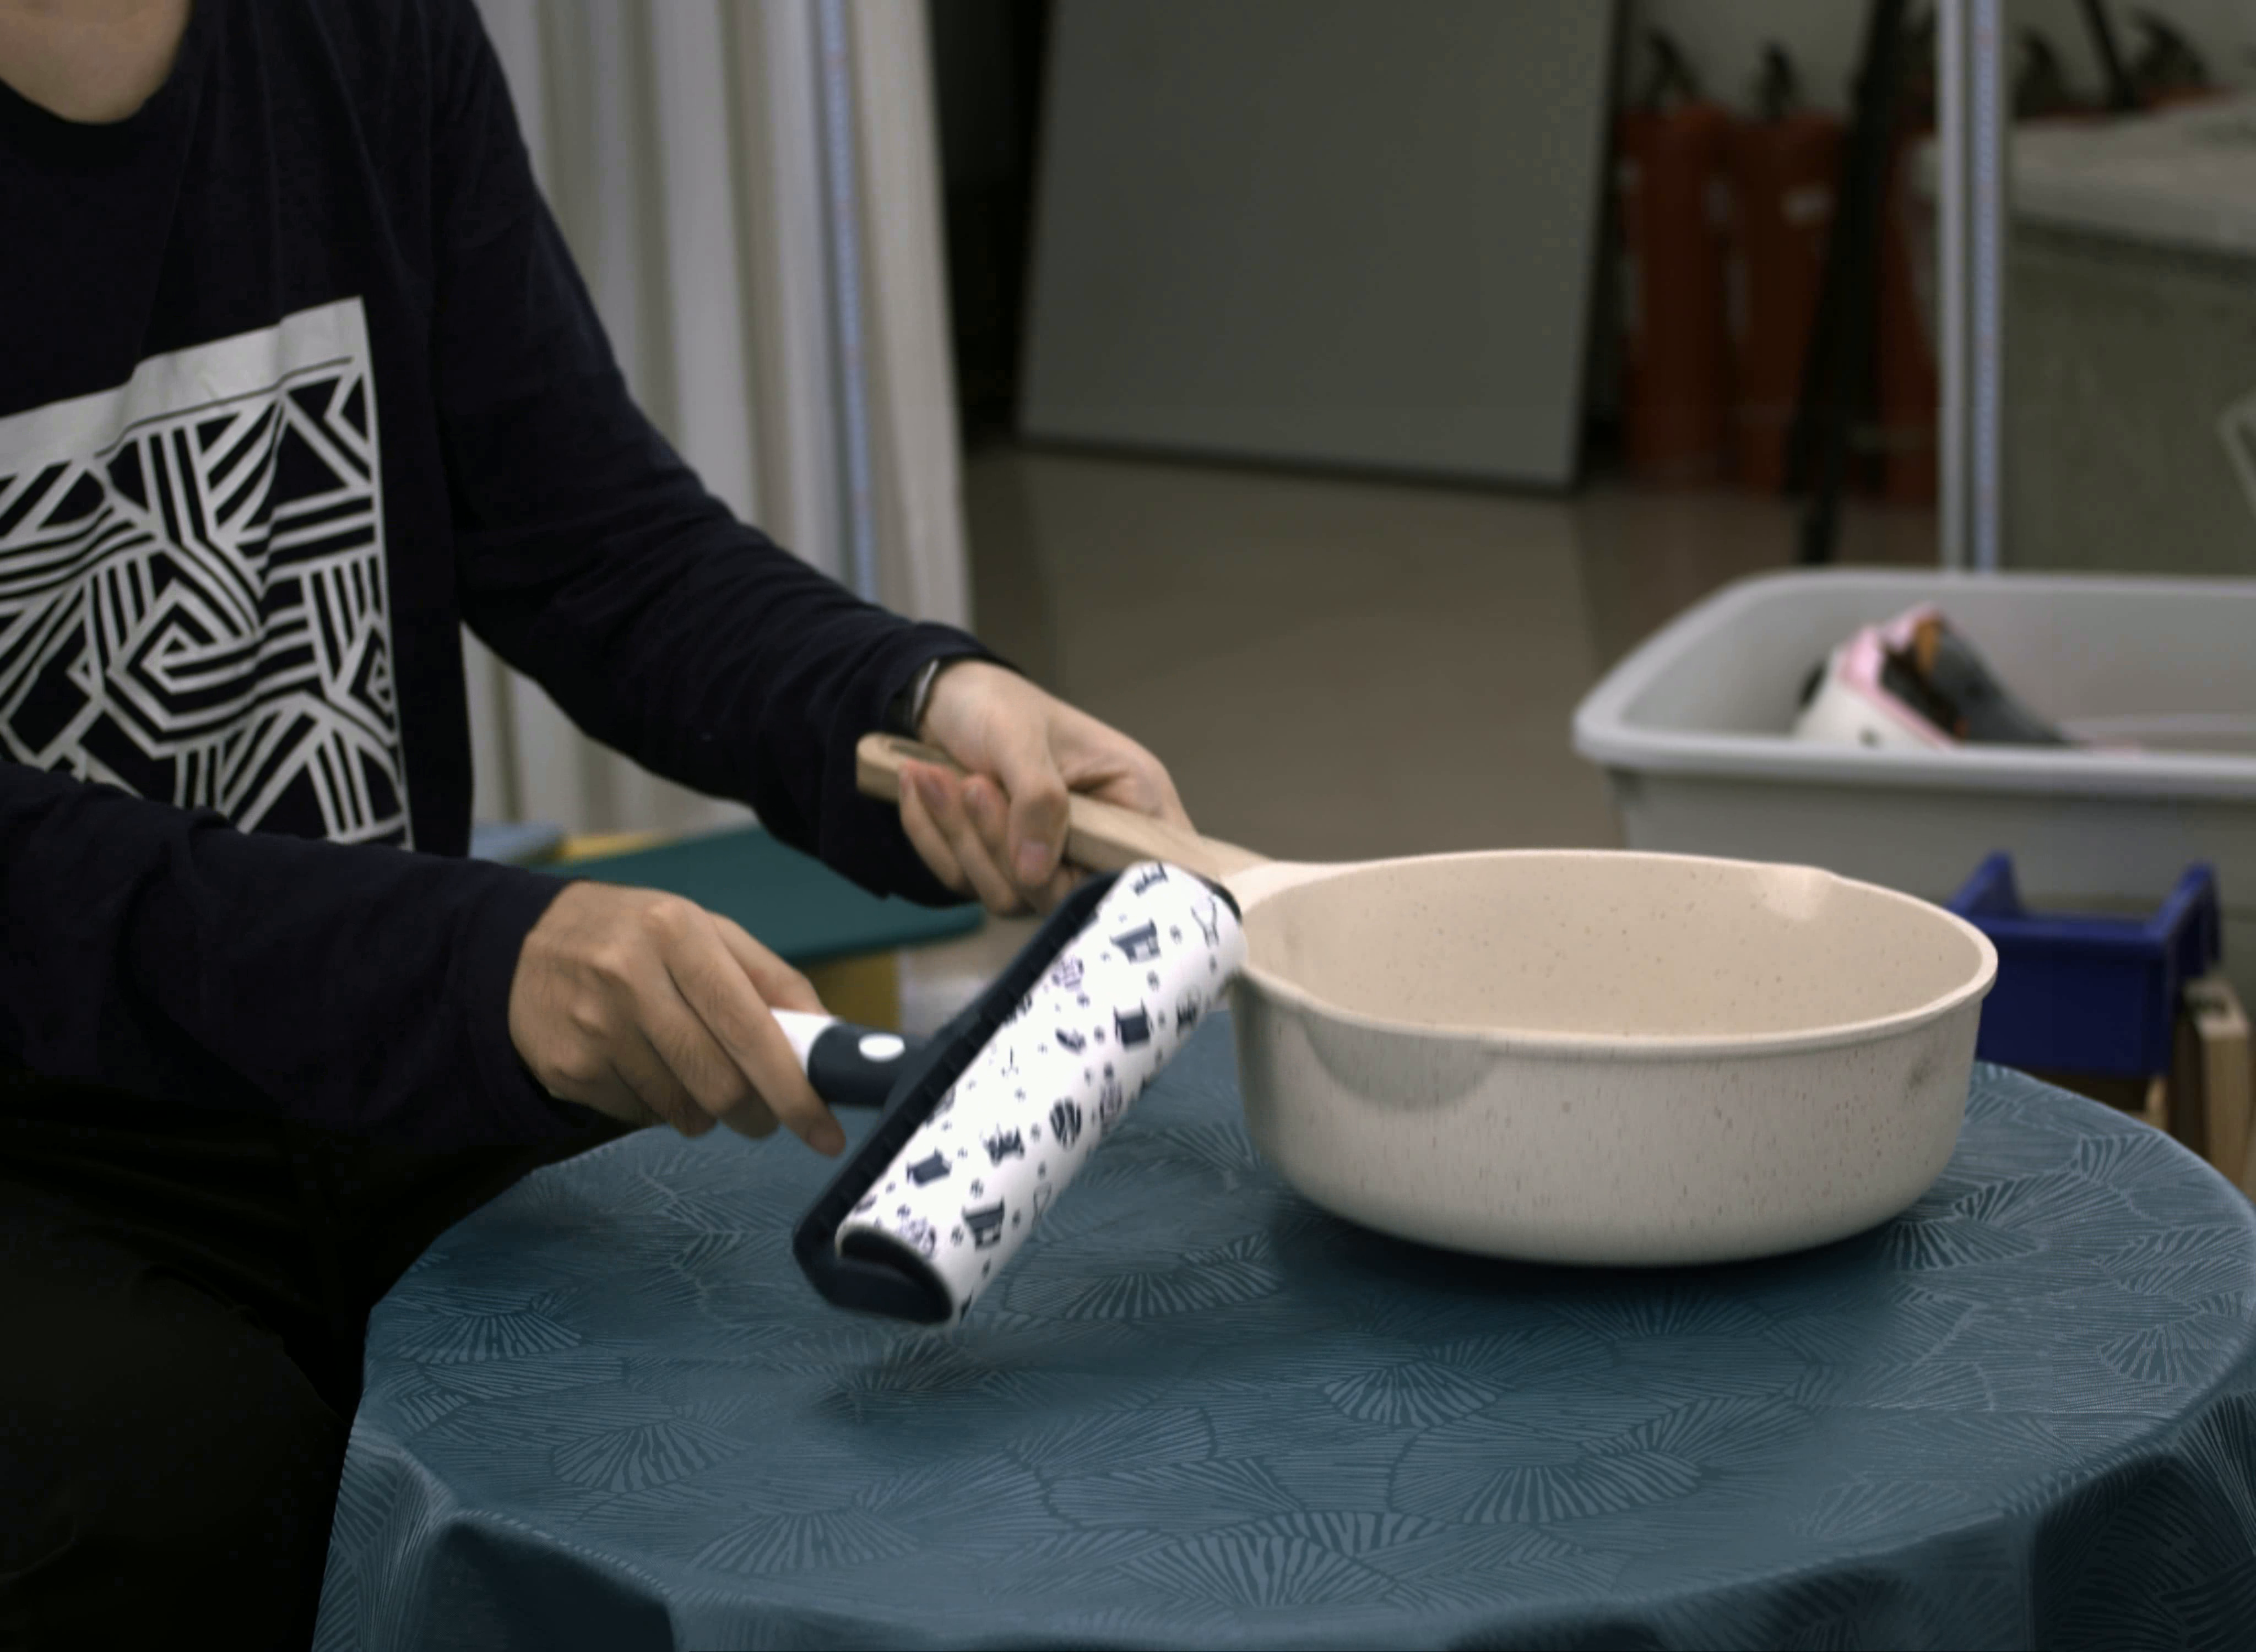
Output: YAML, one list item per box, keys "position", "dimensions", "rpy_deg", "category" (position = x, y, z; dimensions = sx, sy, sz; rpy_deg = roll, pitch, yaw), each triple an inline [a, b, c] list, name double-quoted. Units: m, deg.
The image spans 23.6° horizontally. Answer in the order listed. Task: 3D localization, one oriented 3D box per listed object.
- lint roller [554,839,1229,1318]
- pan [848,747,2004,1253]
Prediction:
- position: [-0.101, 0.072, 1.703]
  dimensions: [0.249, 0.050, 0.175]
  rpy_deg: [3, 46, 43]
  category: "lint roller"
- position: [0.080, 0.051, 1.777]
  dimensions: [0.438, 0.103, 0.258]
  rpy_deg: [10, 16, 36]
  category: "pan"
